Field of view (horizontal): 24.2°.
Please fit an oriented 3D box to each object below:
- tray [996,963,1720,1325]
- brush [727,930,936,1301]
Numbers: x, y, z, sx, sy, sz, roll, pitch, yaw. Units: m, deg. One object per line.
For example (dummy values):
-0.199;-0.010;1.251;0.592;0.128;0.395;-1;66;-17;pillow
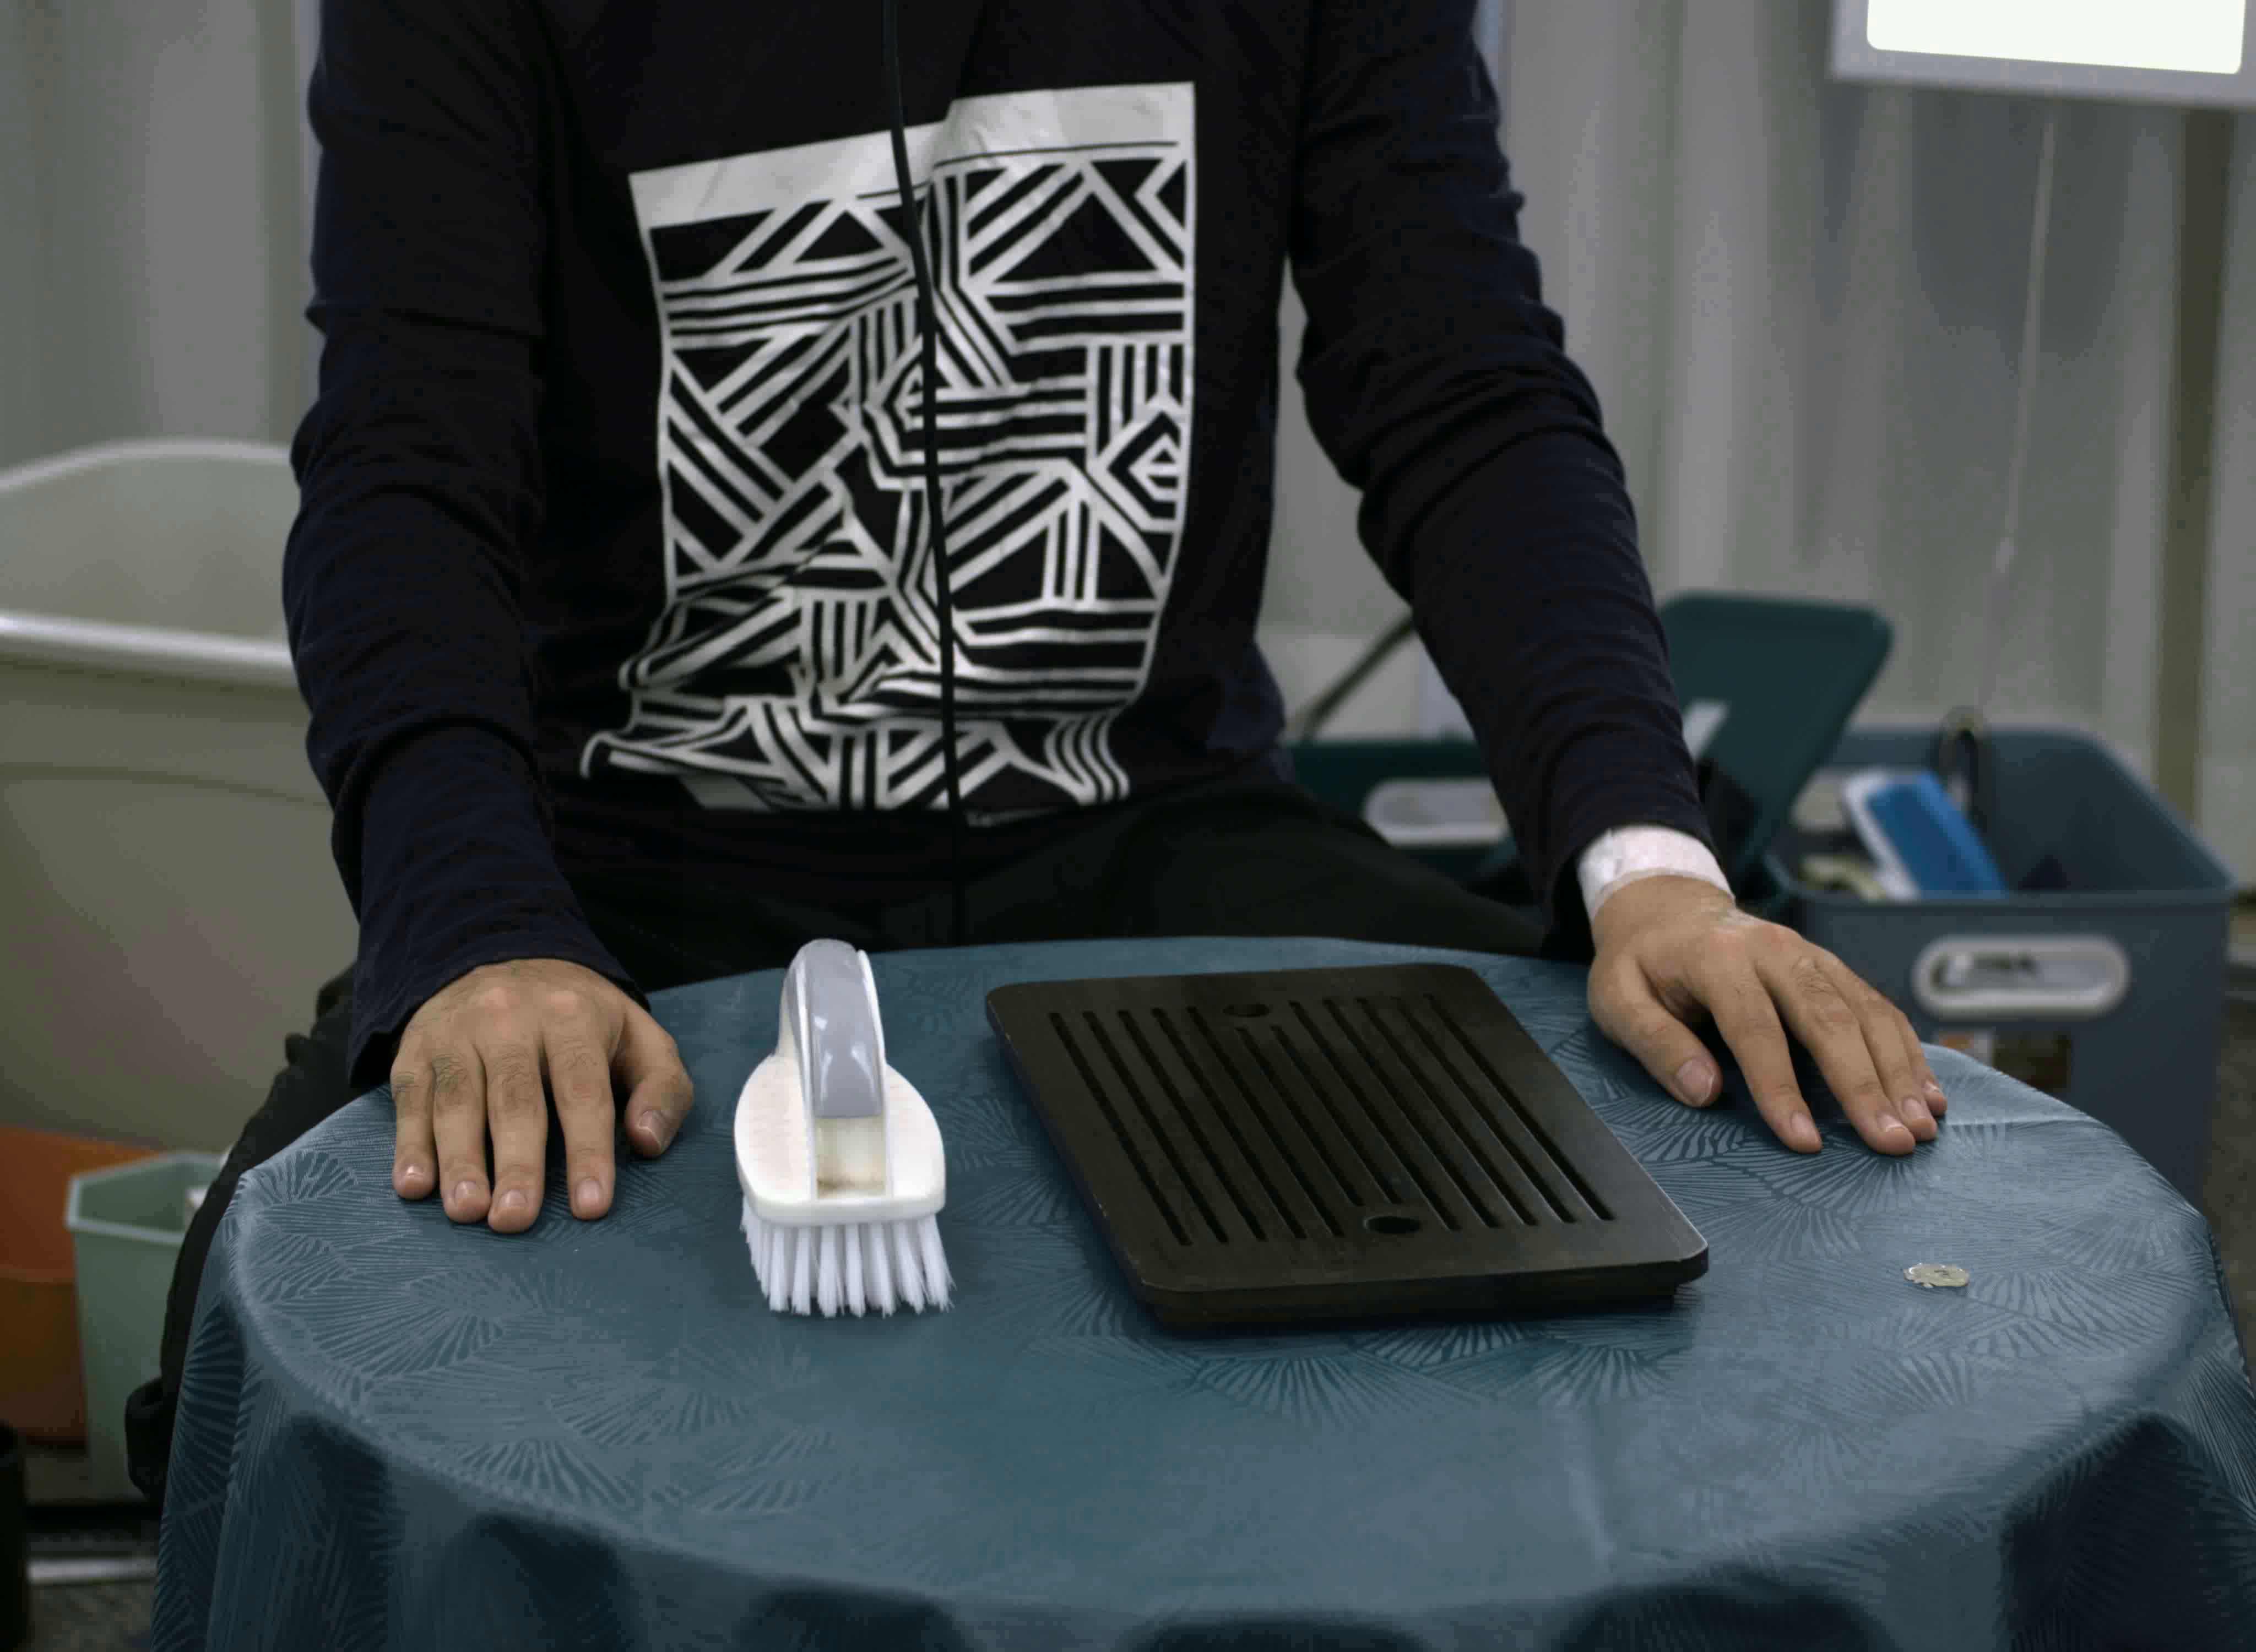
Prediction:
0.064;0.097;1.652;0.170;0.019;0.303;-2;15;-10;tray
-0.092;0.076;1.583;0.061;0.095;0.174;-2;14;-6;brush
